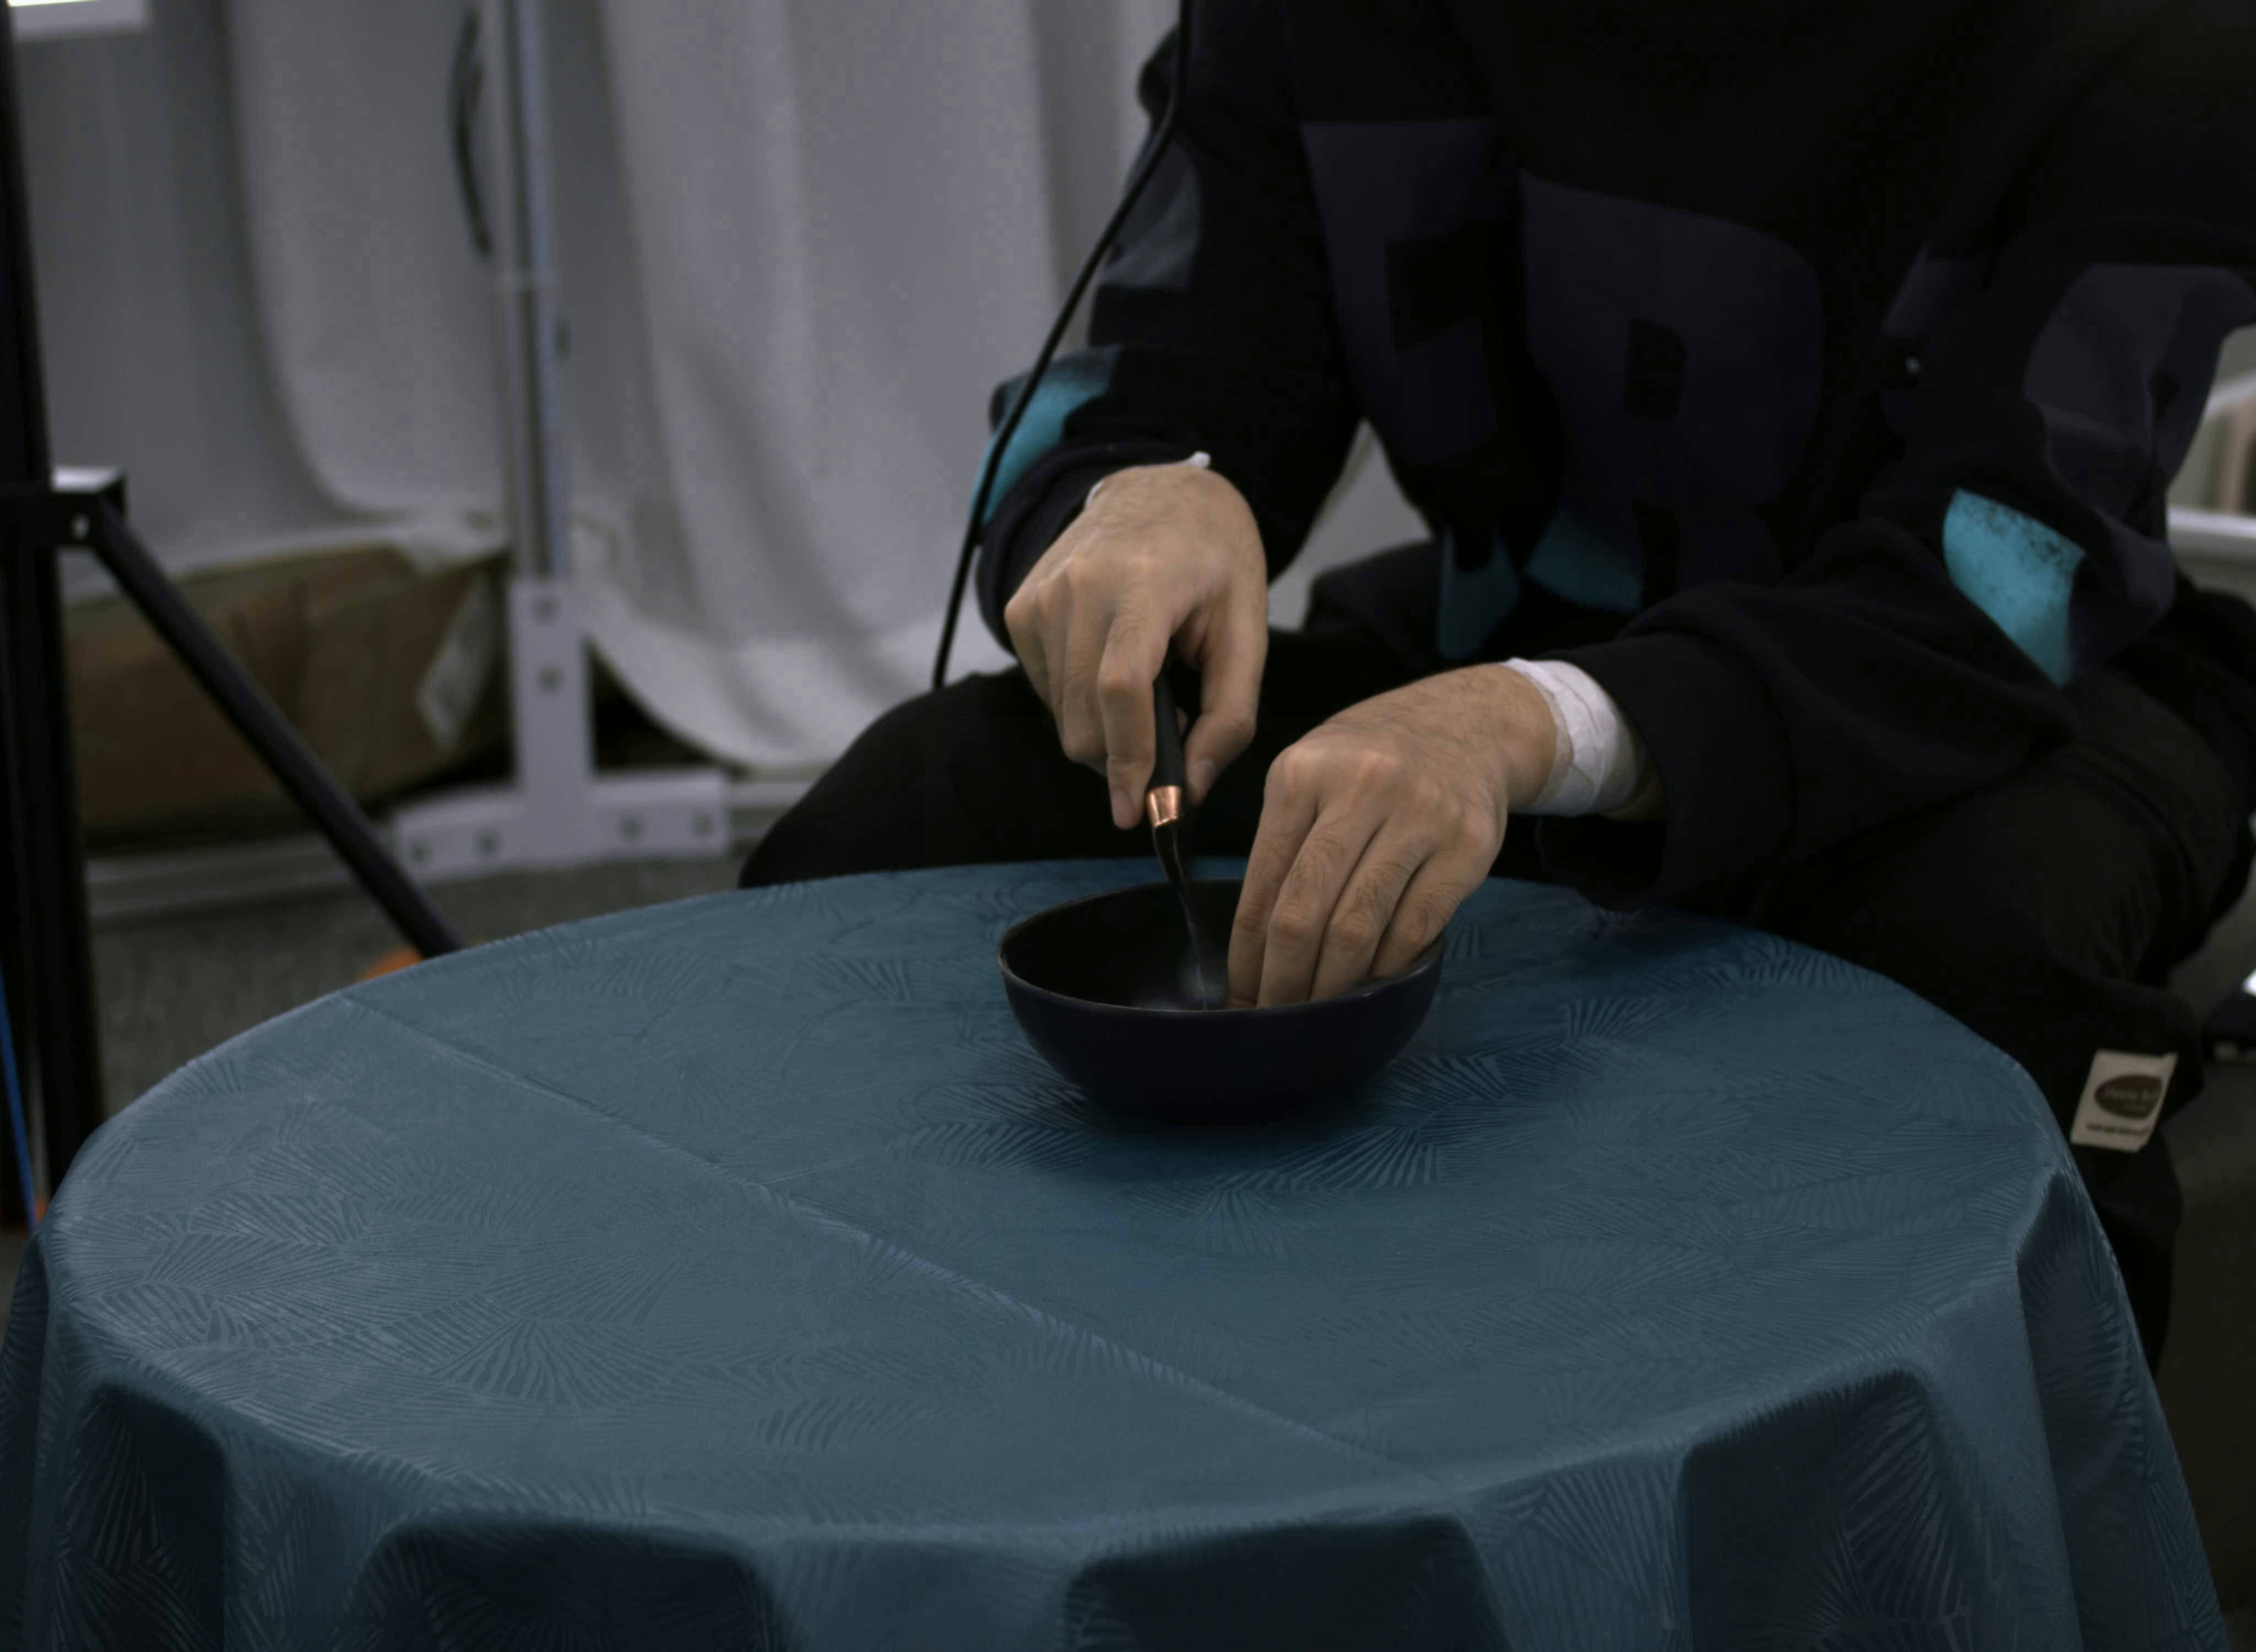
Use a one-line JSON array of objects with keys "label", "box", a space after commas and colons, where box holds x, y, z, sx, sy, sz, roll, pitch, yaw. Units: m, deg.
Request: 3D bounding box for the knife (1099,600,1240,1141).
[{"label": "knife", "box": [0.014, 0.011, 1.684, 0.017, 0.026, 0.229, -11, 46, -1]}]

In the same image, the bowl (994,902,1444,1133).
[{"label": "bowl", "box": [0.029, 0.062, 1.635, 0.139, 0.050, 0.140, -3, 11, -1]}]
